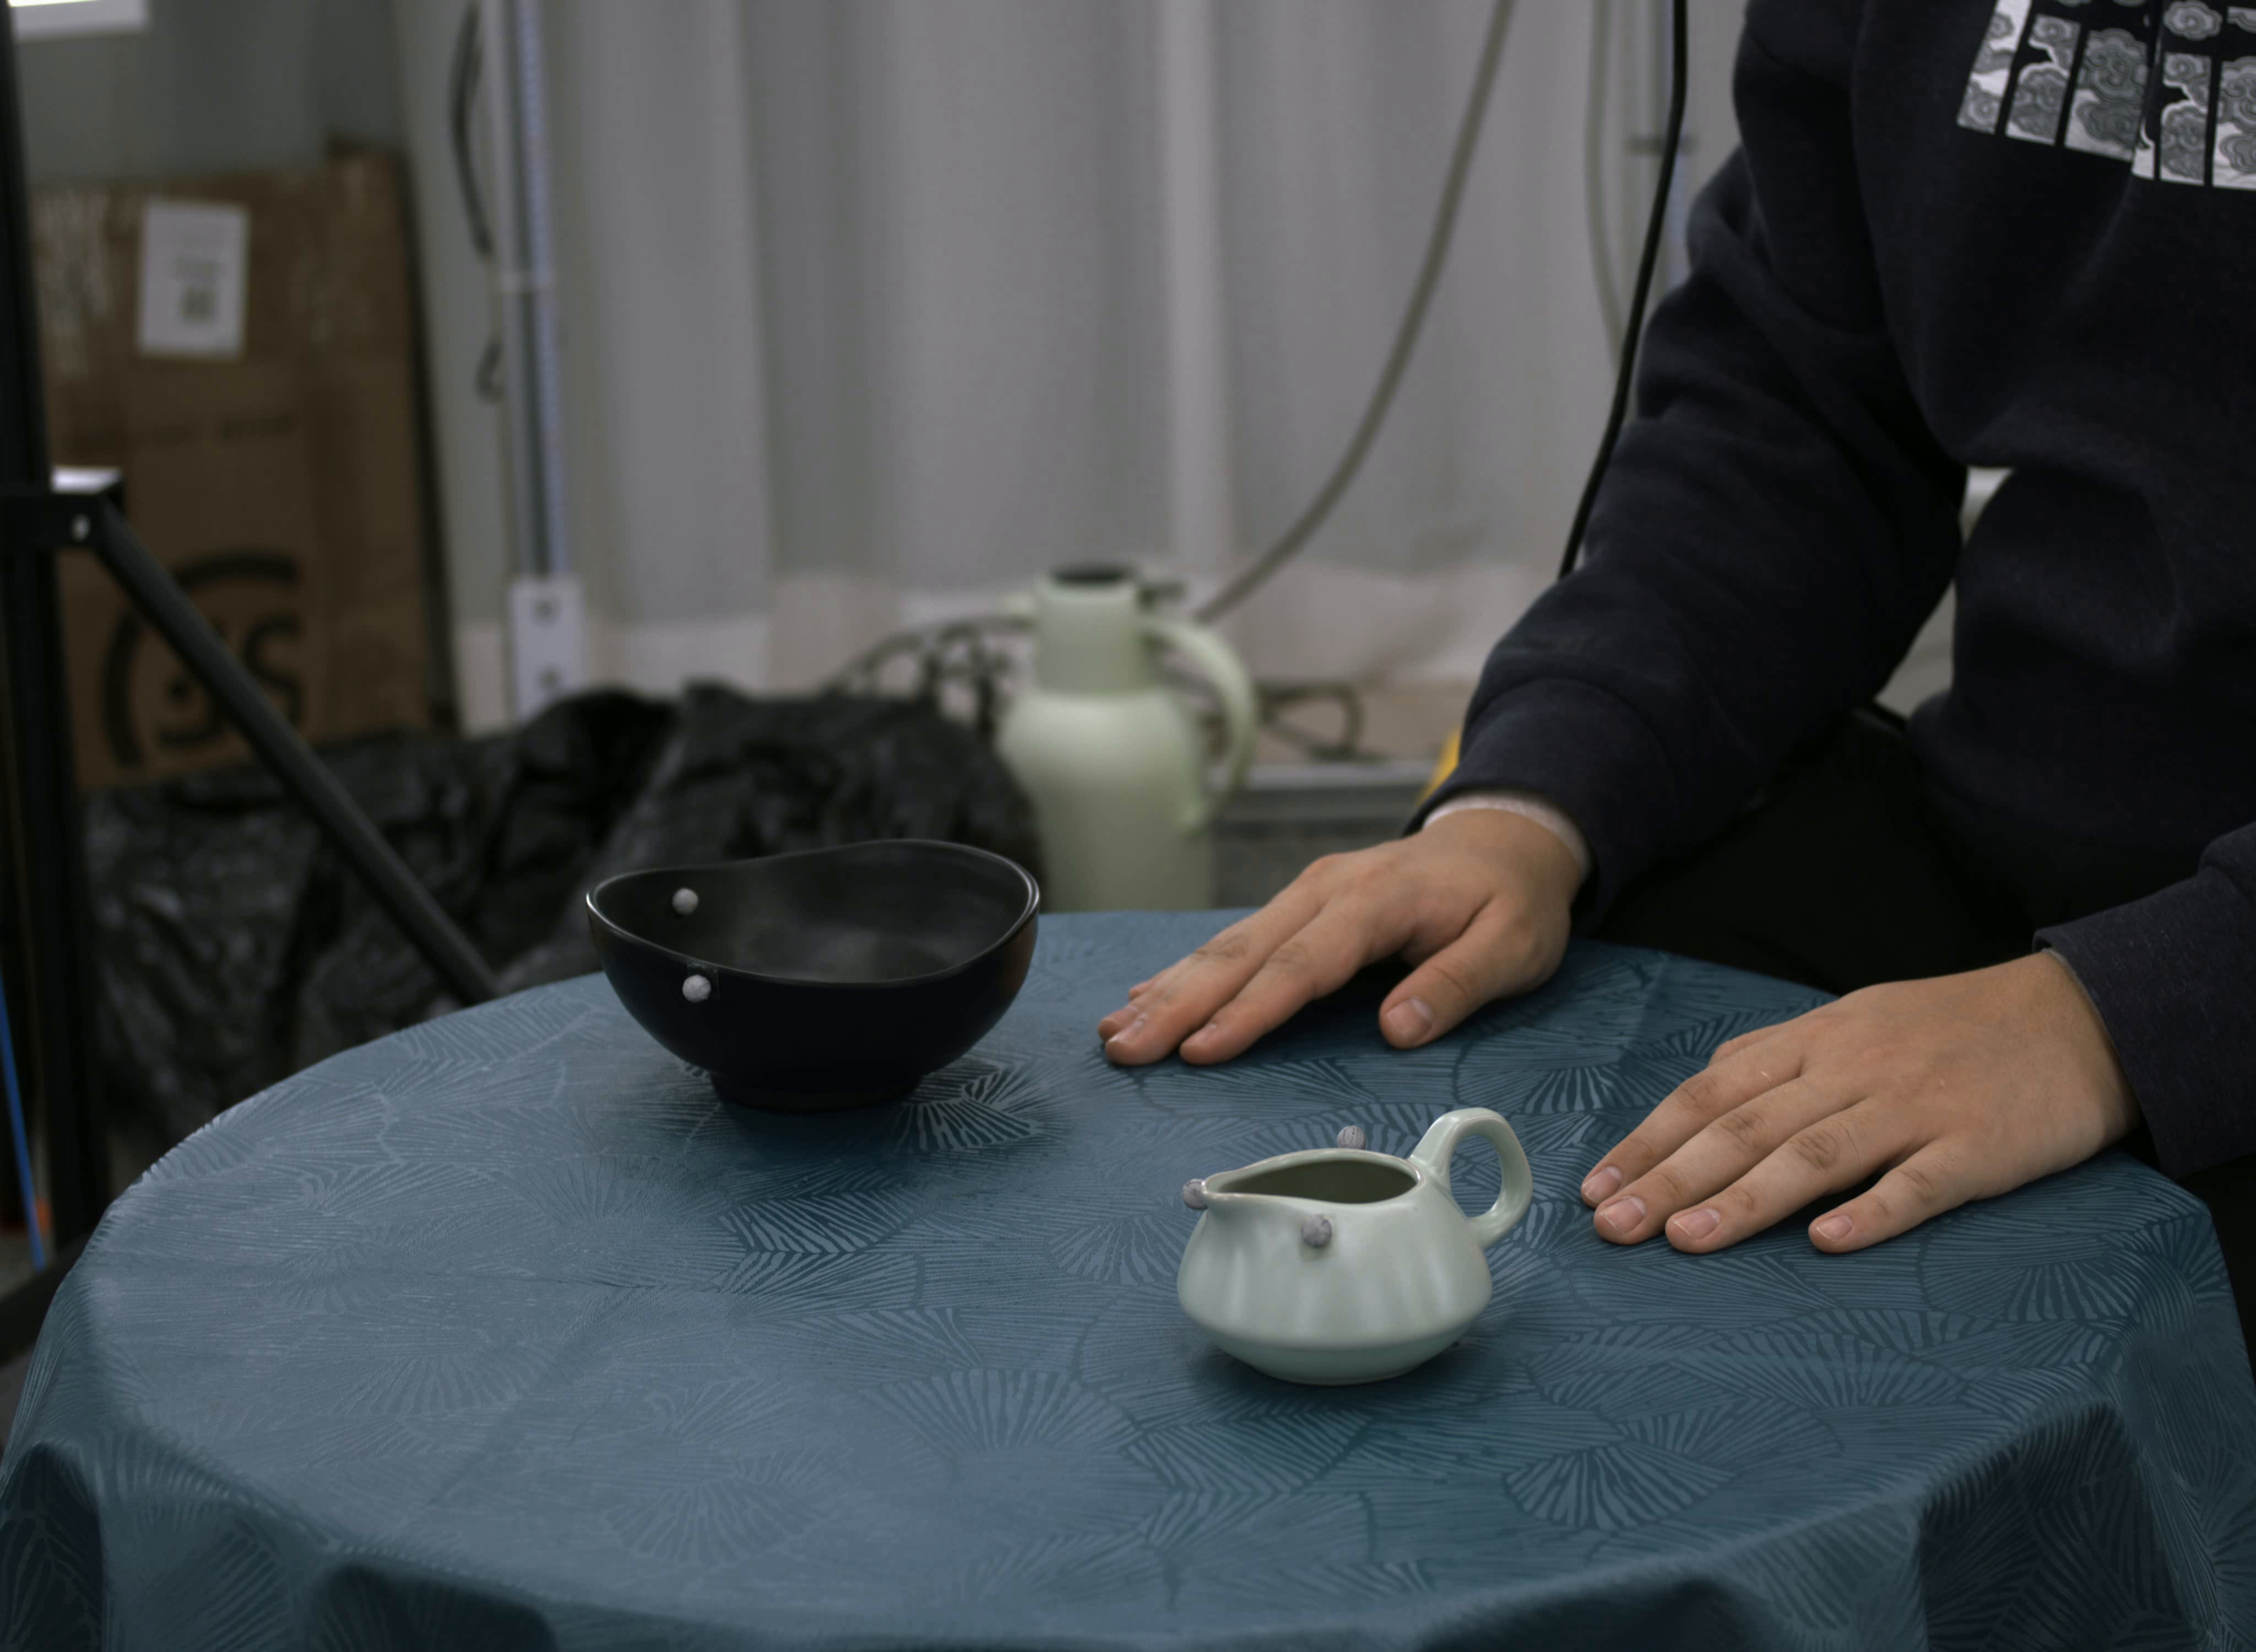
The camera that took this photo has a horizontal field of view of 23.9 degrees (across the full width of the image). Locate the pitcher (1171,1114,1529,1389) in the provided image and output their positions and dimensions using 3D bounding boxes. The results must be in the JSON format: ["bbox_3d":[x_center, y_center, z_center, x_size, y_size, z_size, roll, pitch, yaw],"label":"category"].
[{"bbox_3d":[0.064,0.114,1.426,0.105,0.060,0.088,-10,18,-34],"label":"pitcher"}]

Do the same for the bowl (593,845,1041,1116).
[{"bbox_3d":[-0.098,0.051,1.660,0.135,0.067,0.173,-7,16,-20],"label":"bowl"}]
